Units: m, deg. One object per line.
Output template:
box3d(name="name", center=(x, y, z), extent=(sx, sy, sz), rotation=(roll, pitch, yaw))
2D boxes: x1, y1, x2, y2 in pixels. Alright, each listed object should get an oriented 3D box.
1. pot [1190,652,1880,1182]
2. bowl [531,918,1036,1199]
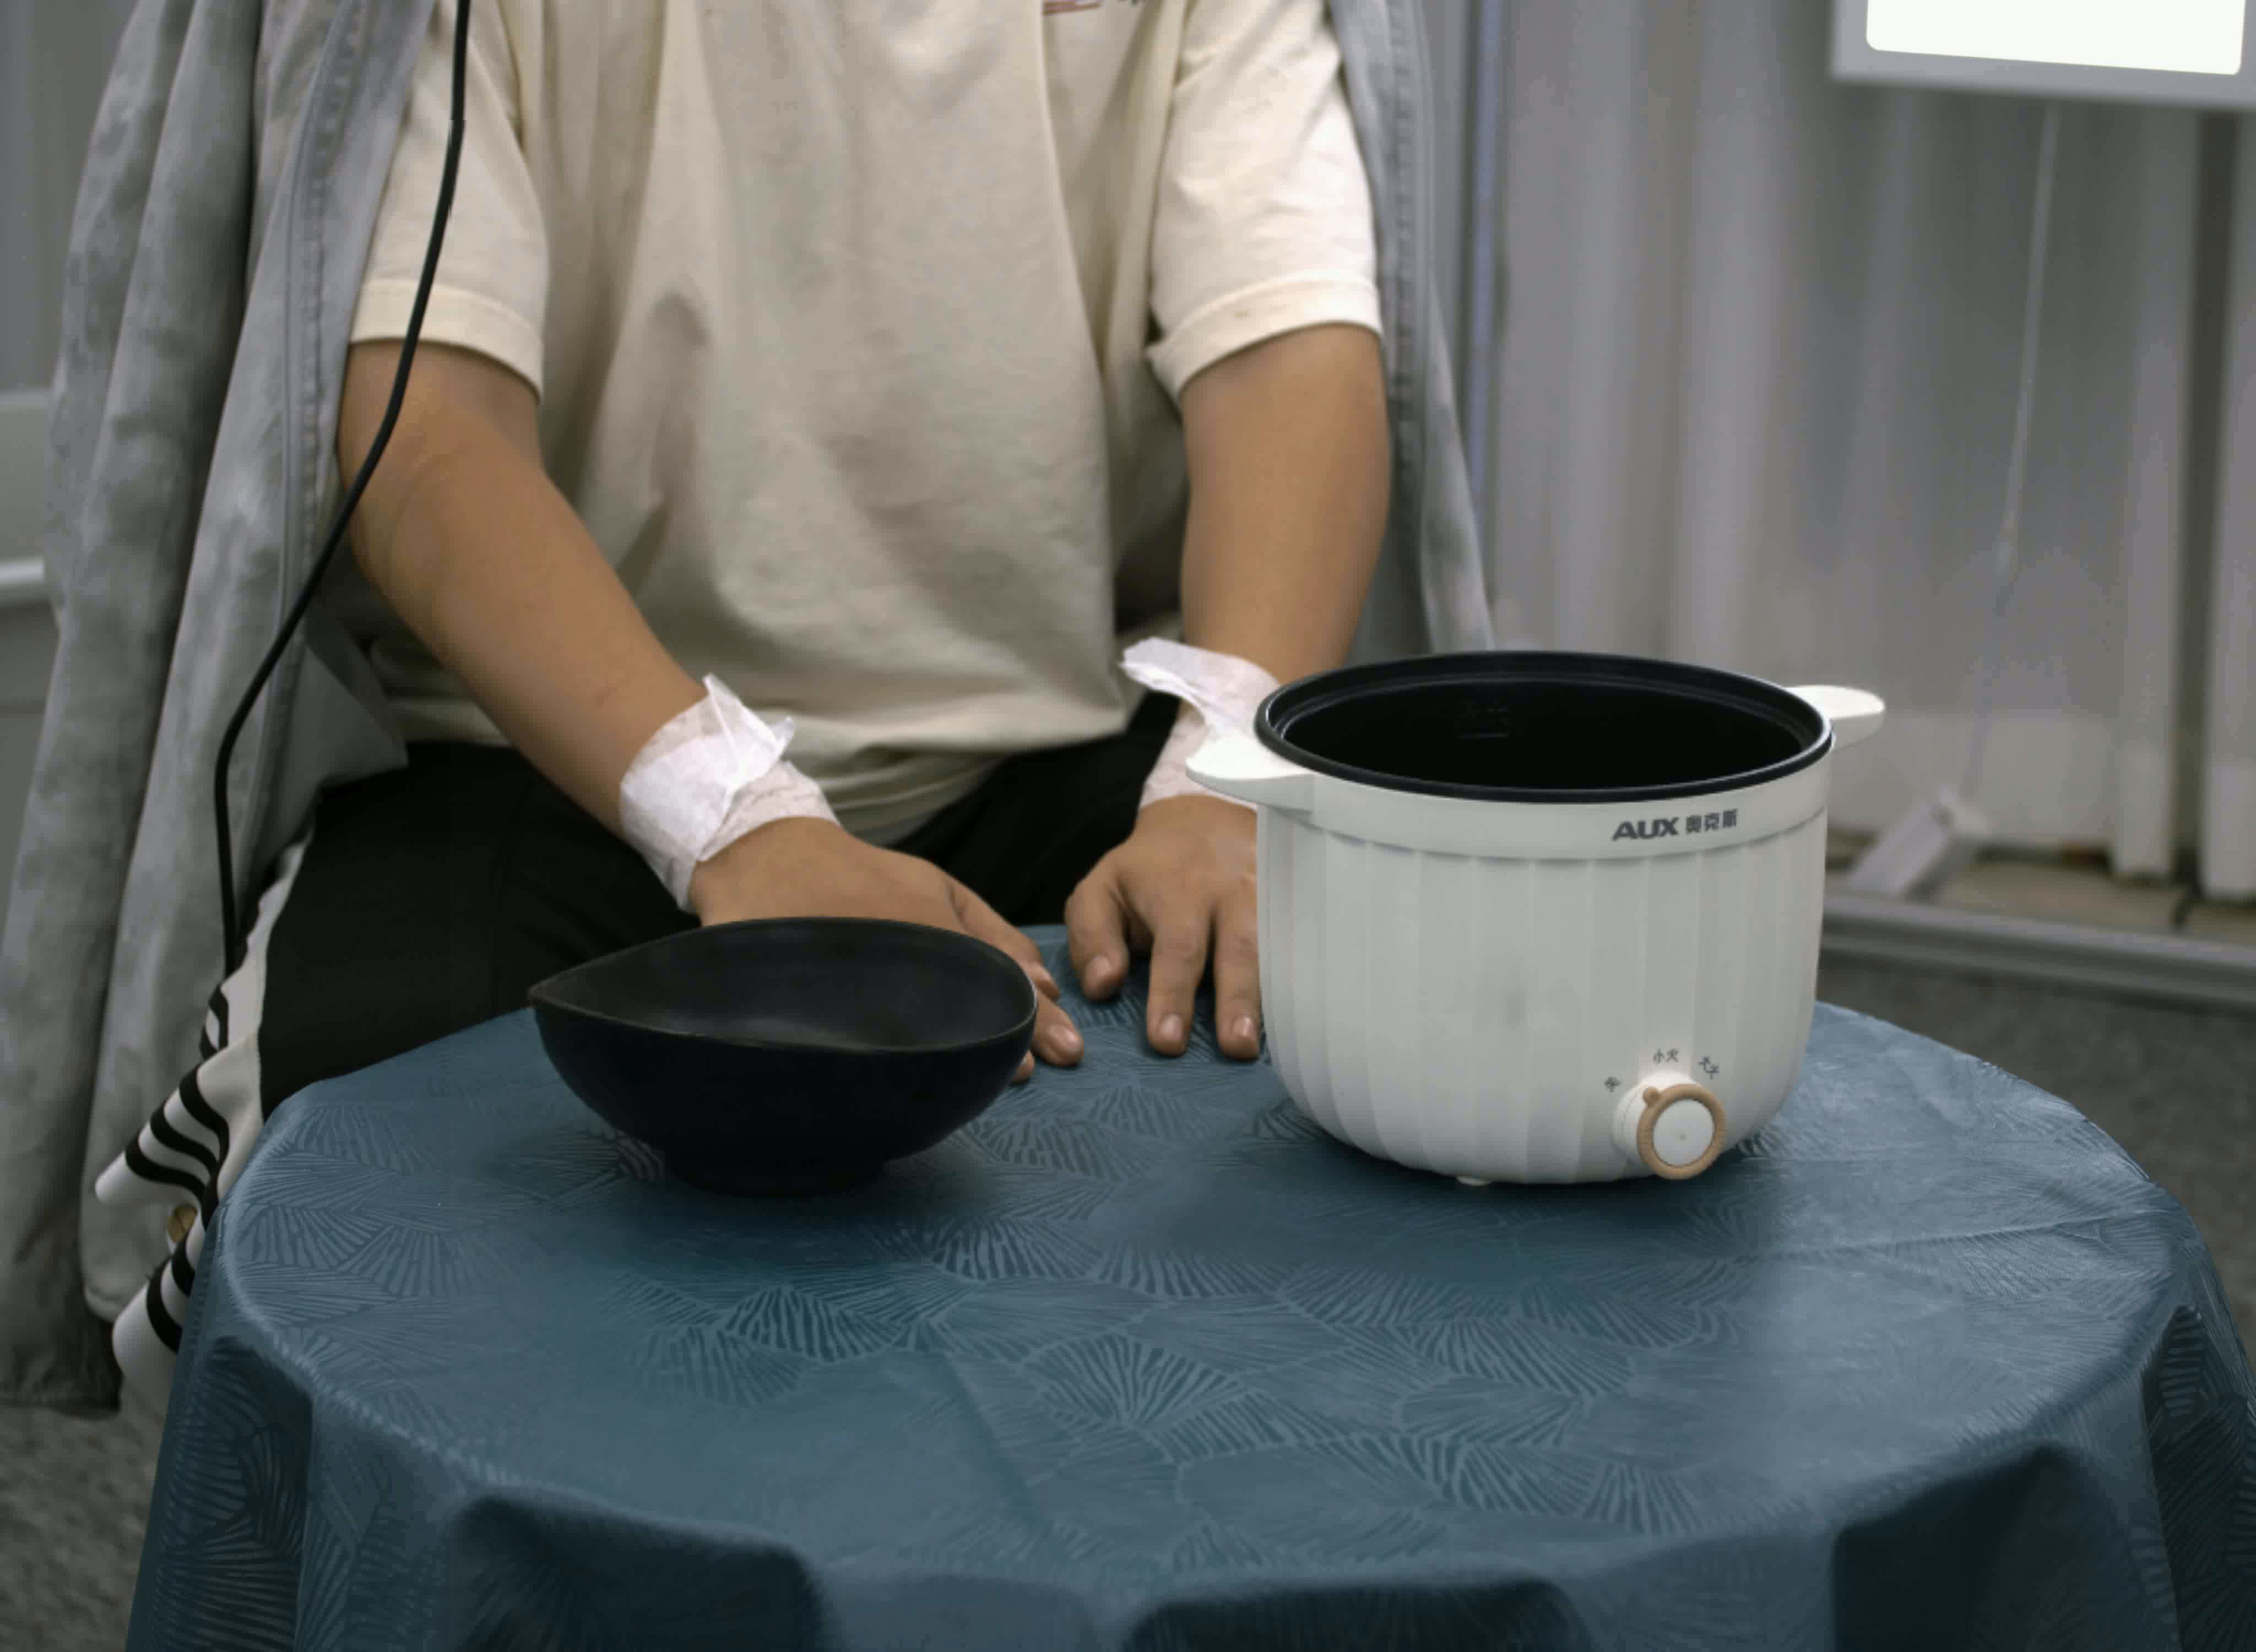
box3d(name="pot", center=(0.133, 0.031, 1.665), extent=(0.241, 0.144, 0.188), rotation=(-7, 14, -23))
box3d(name="bowl", center=(-0.109, 0.076, 1.635), extent=(0.168, 0.067, 0.138), rotation=(8, 16, 28))
